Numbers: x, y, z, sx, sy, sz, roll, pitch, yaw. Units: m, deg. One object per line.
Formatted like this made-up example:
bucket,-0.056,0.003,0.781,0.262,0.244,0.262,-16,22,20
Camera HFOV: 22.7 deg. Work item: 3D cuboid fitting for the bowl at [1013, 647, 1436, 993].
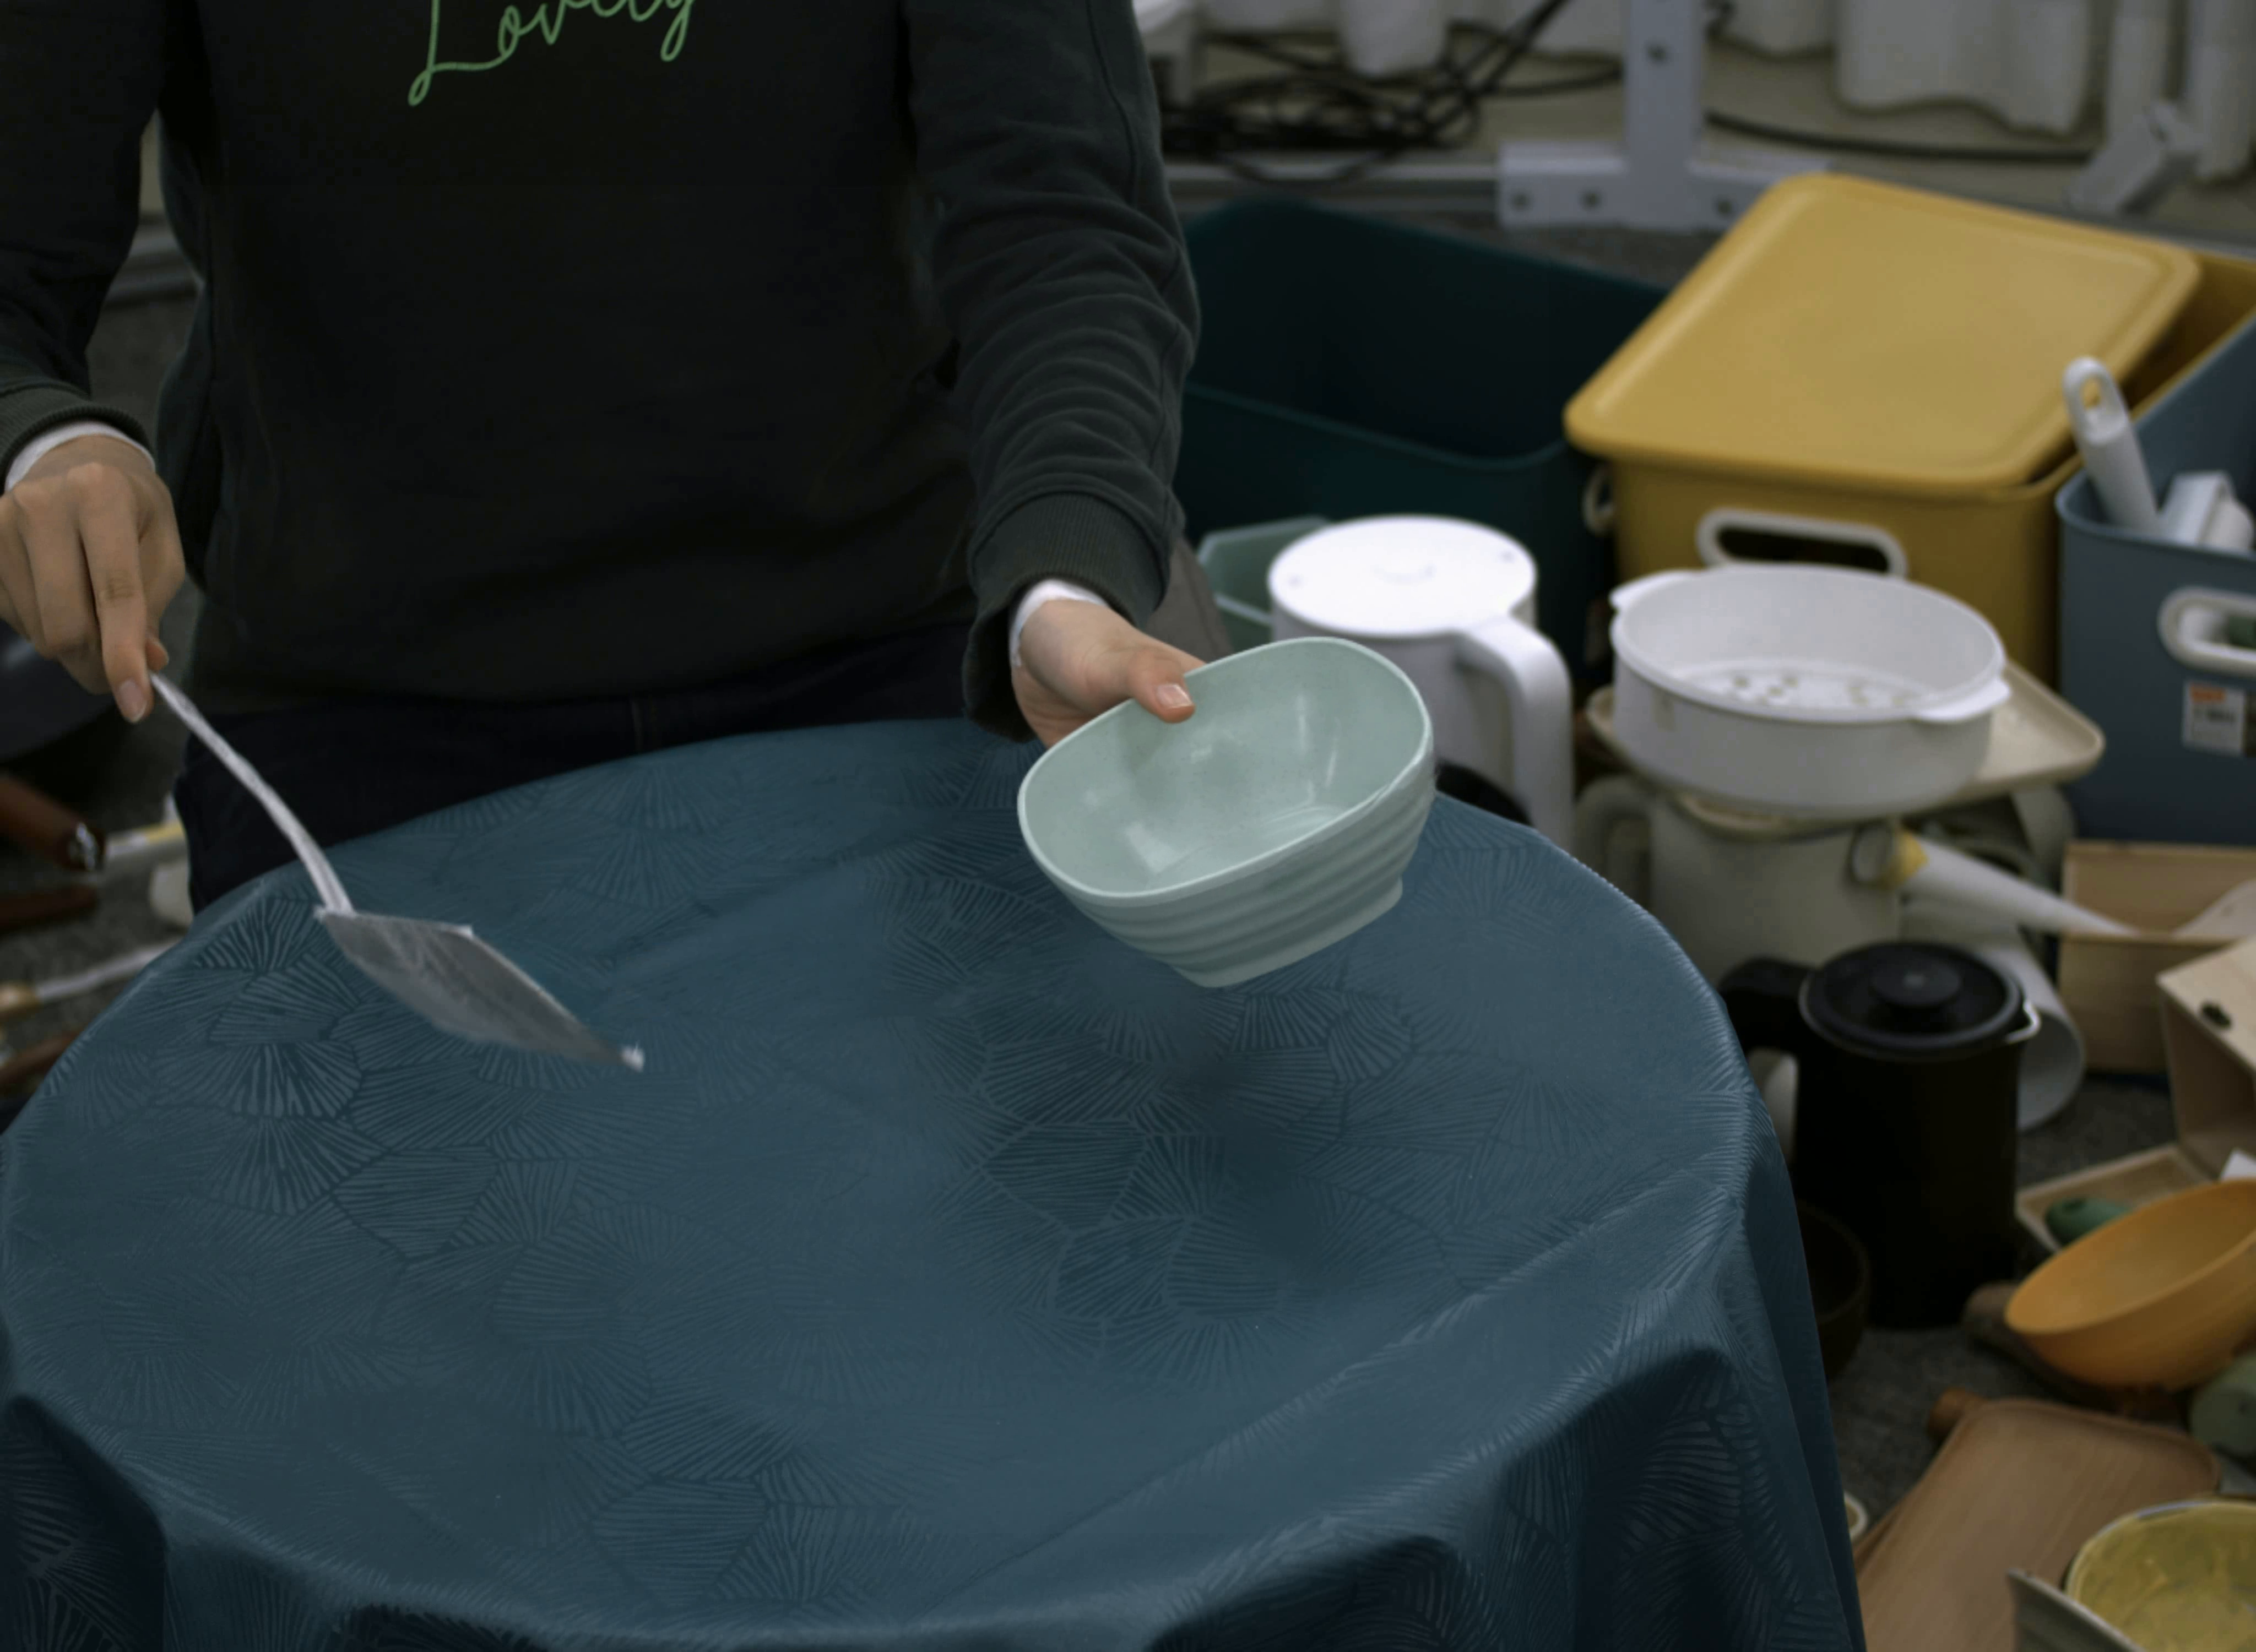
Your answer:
bowl,0.038,0.005,1.868,0.150,0.058,0.154,-14,28,8

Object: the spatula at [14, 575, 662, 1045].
spatula,-0.274,-0.016,1.822,0.045,0.098,0.367,-50,46,0
